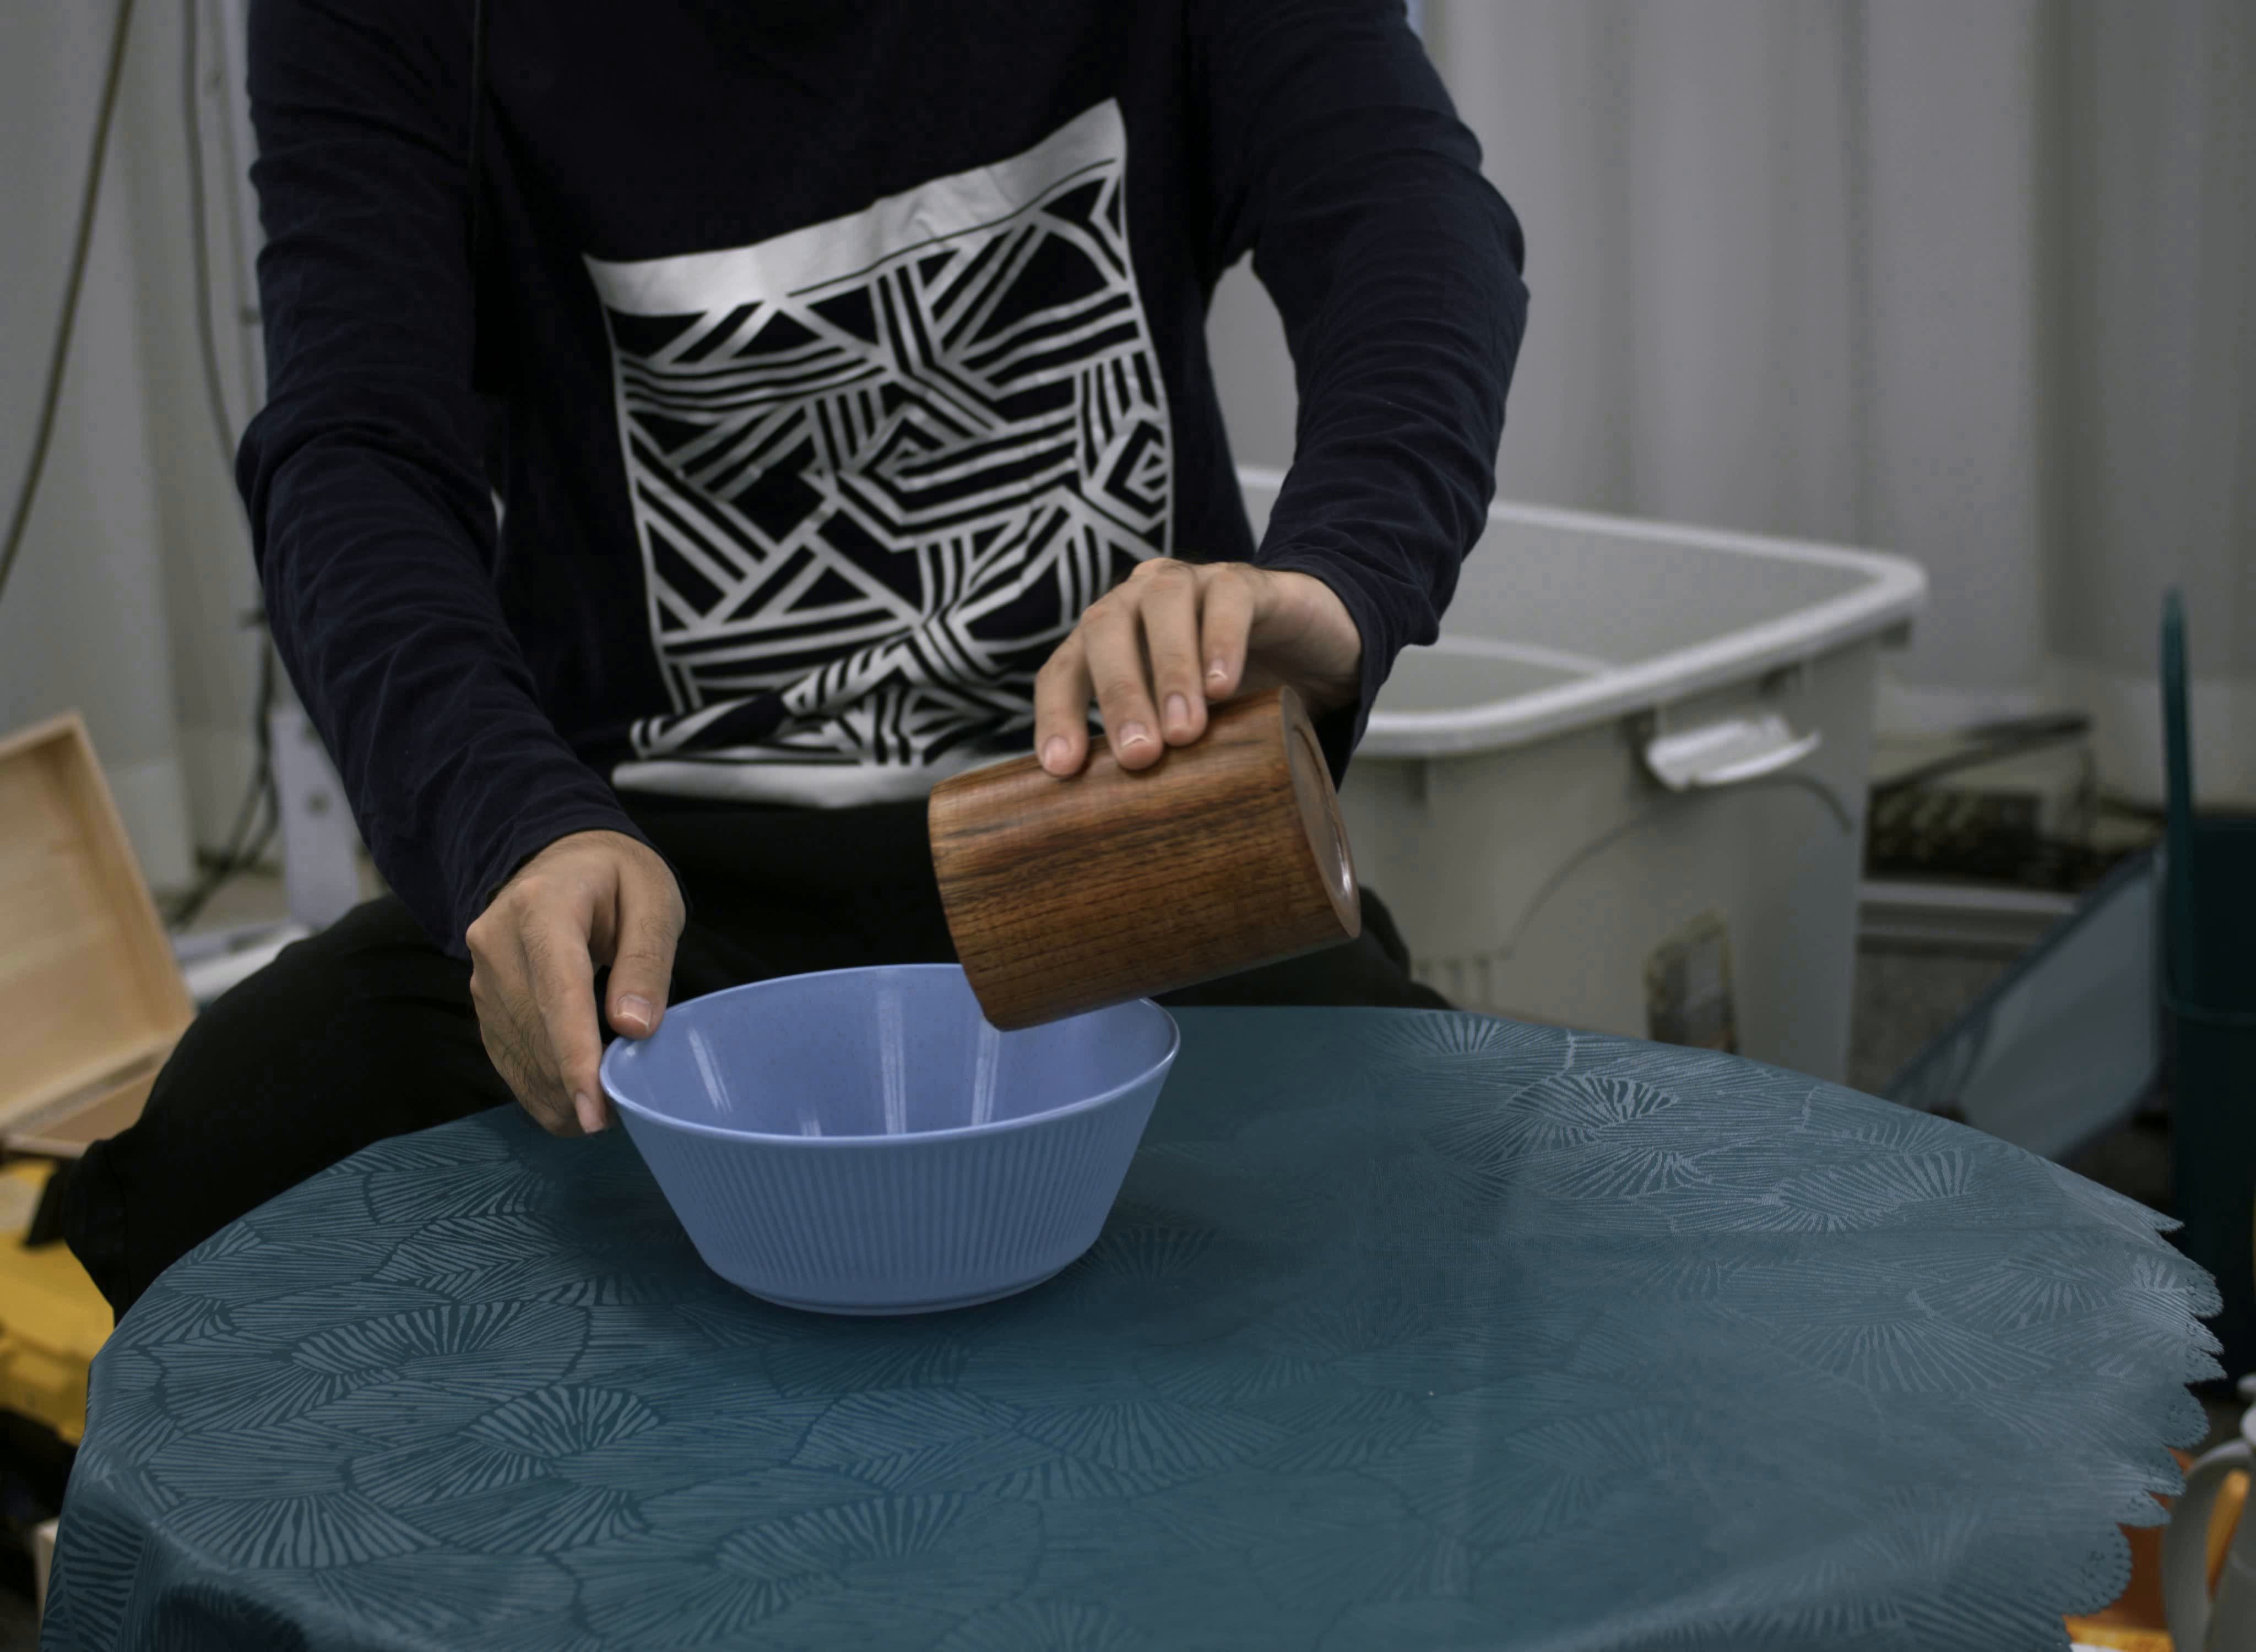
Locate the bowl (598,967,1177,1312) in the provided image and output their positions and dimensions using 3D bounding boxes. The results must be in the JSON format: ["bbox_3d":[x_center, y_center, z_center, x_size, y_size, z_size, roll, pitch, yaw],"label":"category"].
[{"bbox_3d":[-0.071,0.097,1.658,0.175,0.070,0.177,-3,14,0],"label":"bowl"}]

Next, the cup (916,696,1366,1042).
[{"bbox_3d":[0.004,0.014,1.633,0.118,0.087,0.088,-13,12,13],"label":"cup"}]
